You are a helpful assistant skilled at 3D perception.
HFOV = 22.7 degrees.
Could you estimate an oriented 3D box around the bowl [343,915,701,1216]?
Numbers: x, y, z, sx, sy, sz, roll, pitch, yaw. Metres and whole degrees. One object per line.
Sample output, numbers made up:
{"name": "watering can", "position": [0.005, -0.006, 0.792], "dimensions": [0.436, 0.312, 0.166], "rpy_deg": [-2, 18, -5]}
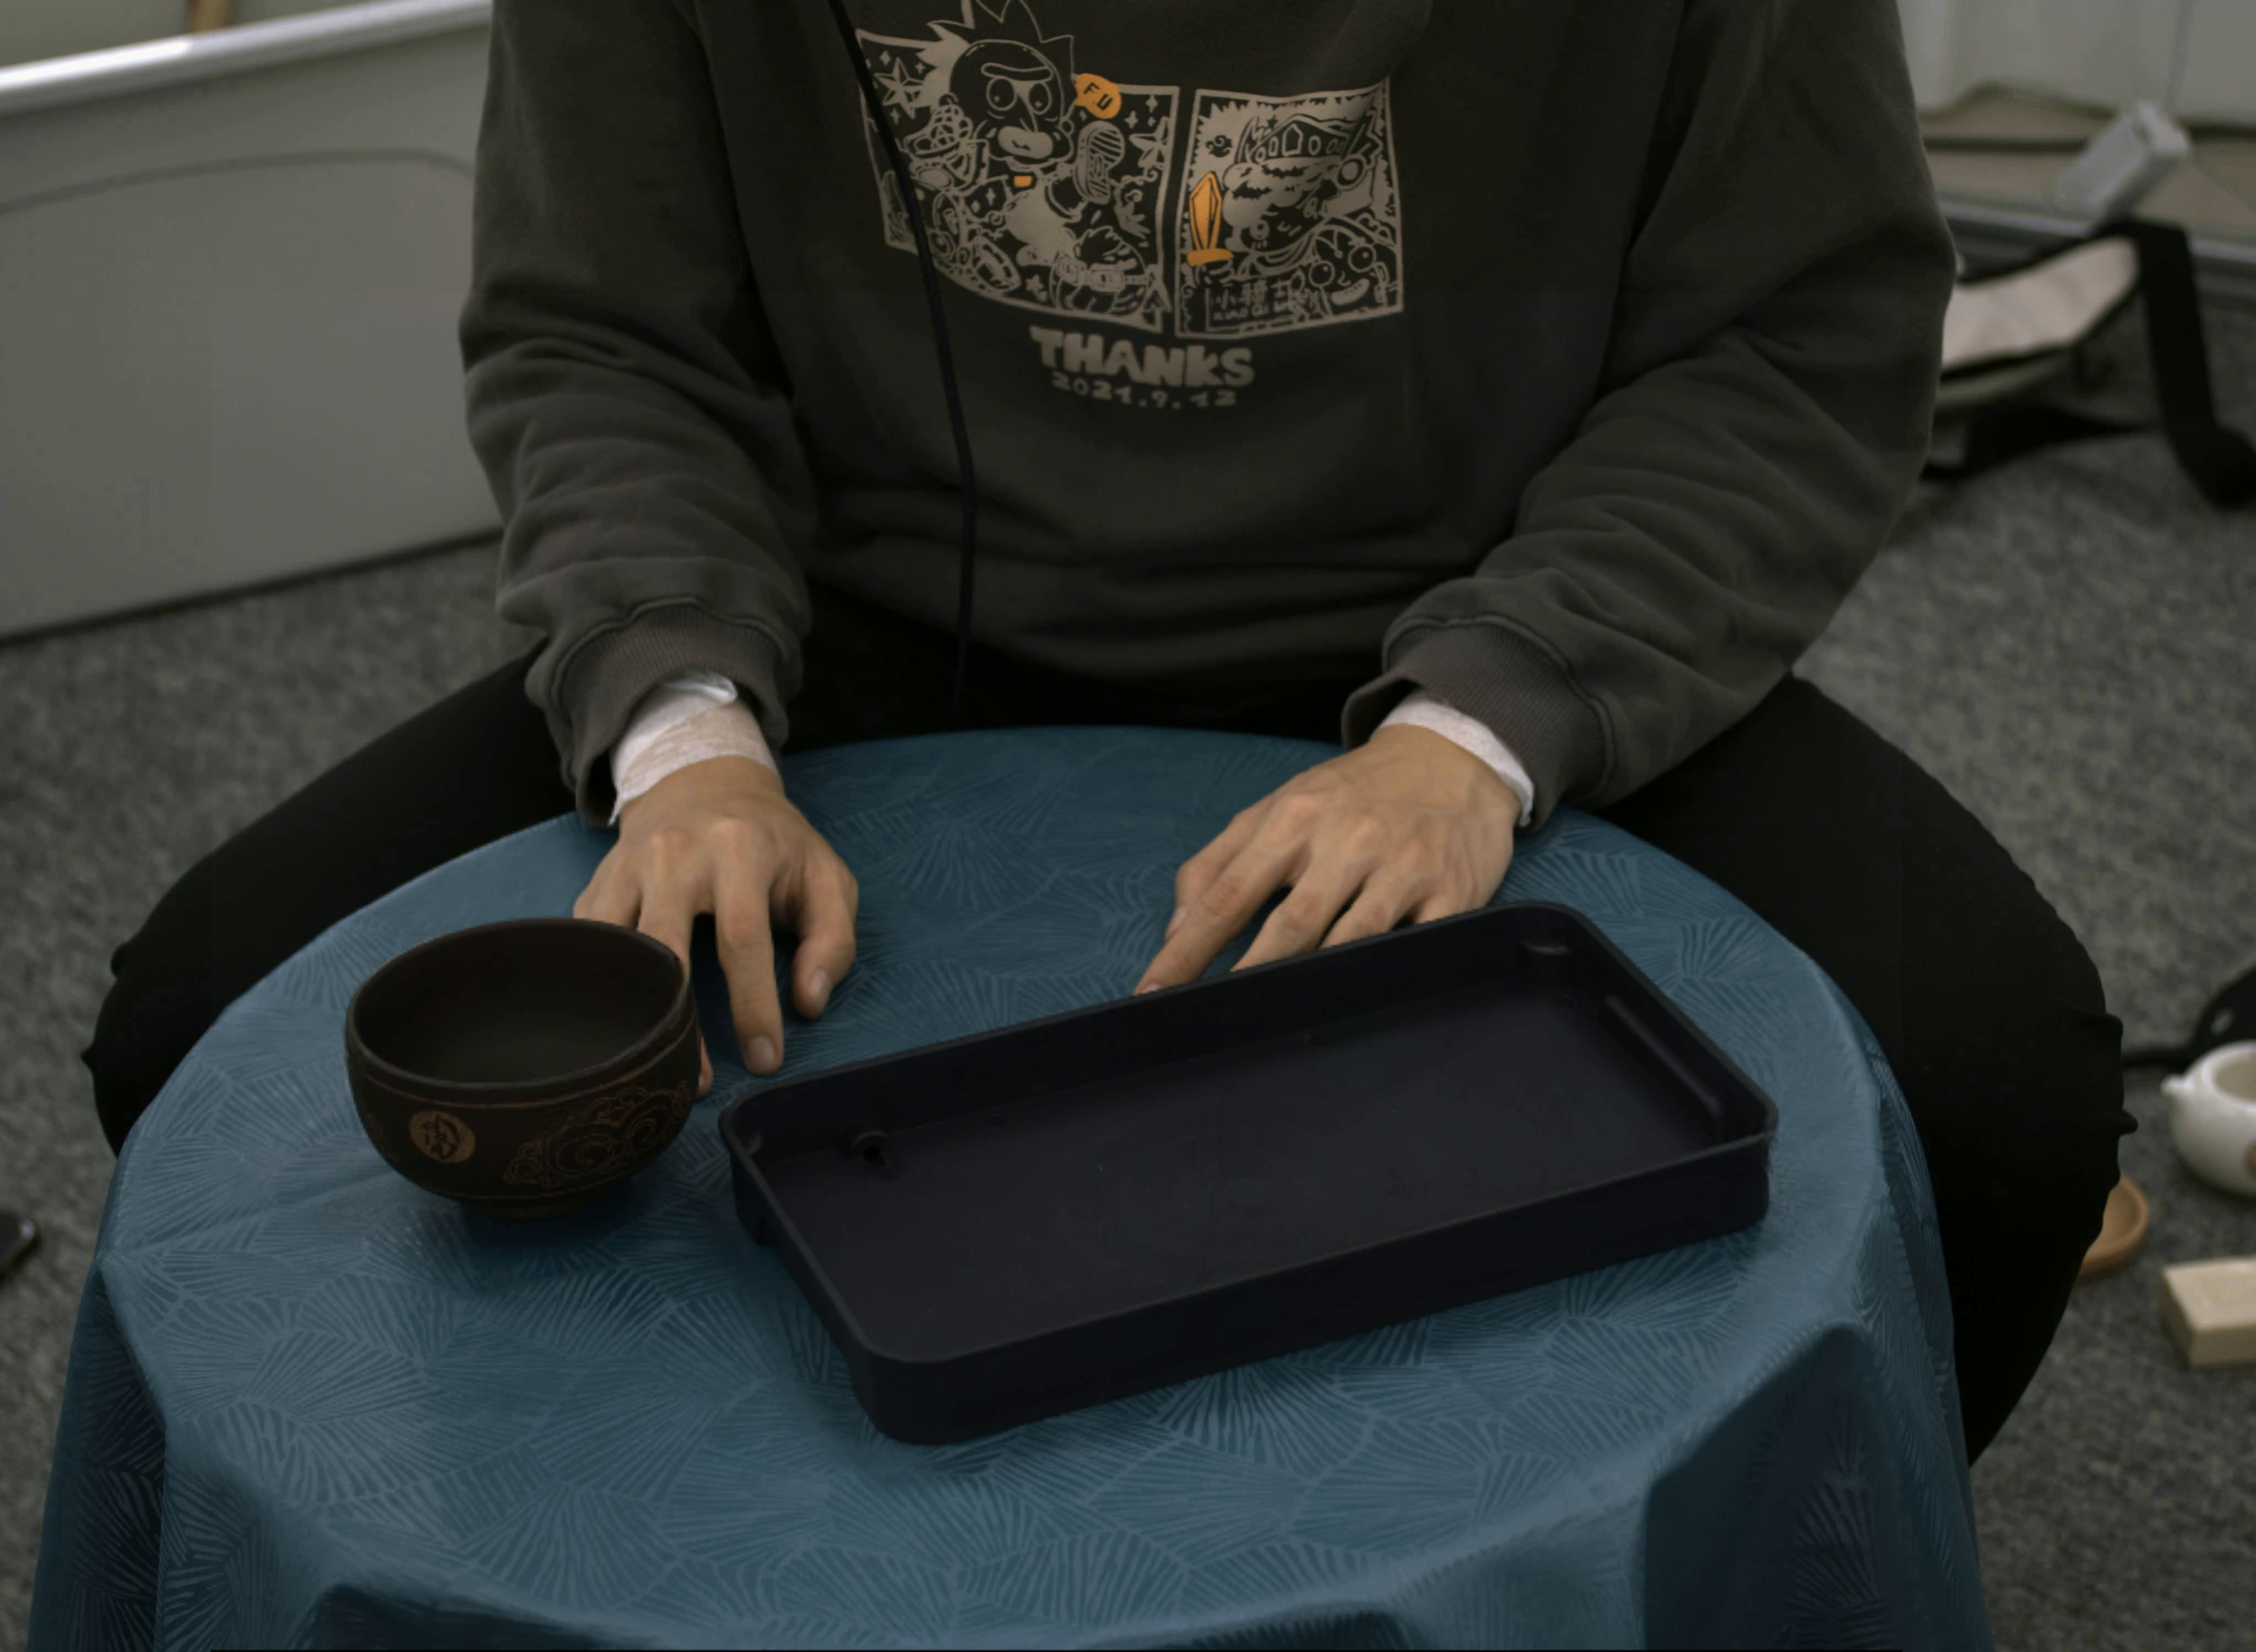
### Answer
{"name": "bowl", "position": [-0.200, 0.087, 1.870], "dimensions": [0.117, 0.069, 0.120], "rpy_deg": [-2, 26, 1]}

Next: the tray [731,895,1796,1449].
{"name": "tray", "position": [0.044, 0.109, 1.843], "dimensions": [0.319, 0.036, 0.185], "rpy_deg": [-14, 29, -20]}
